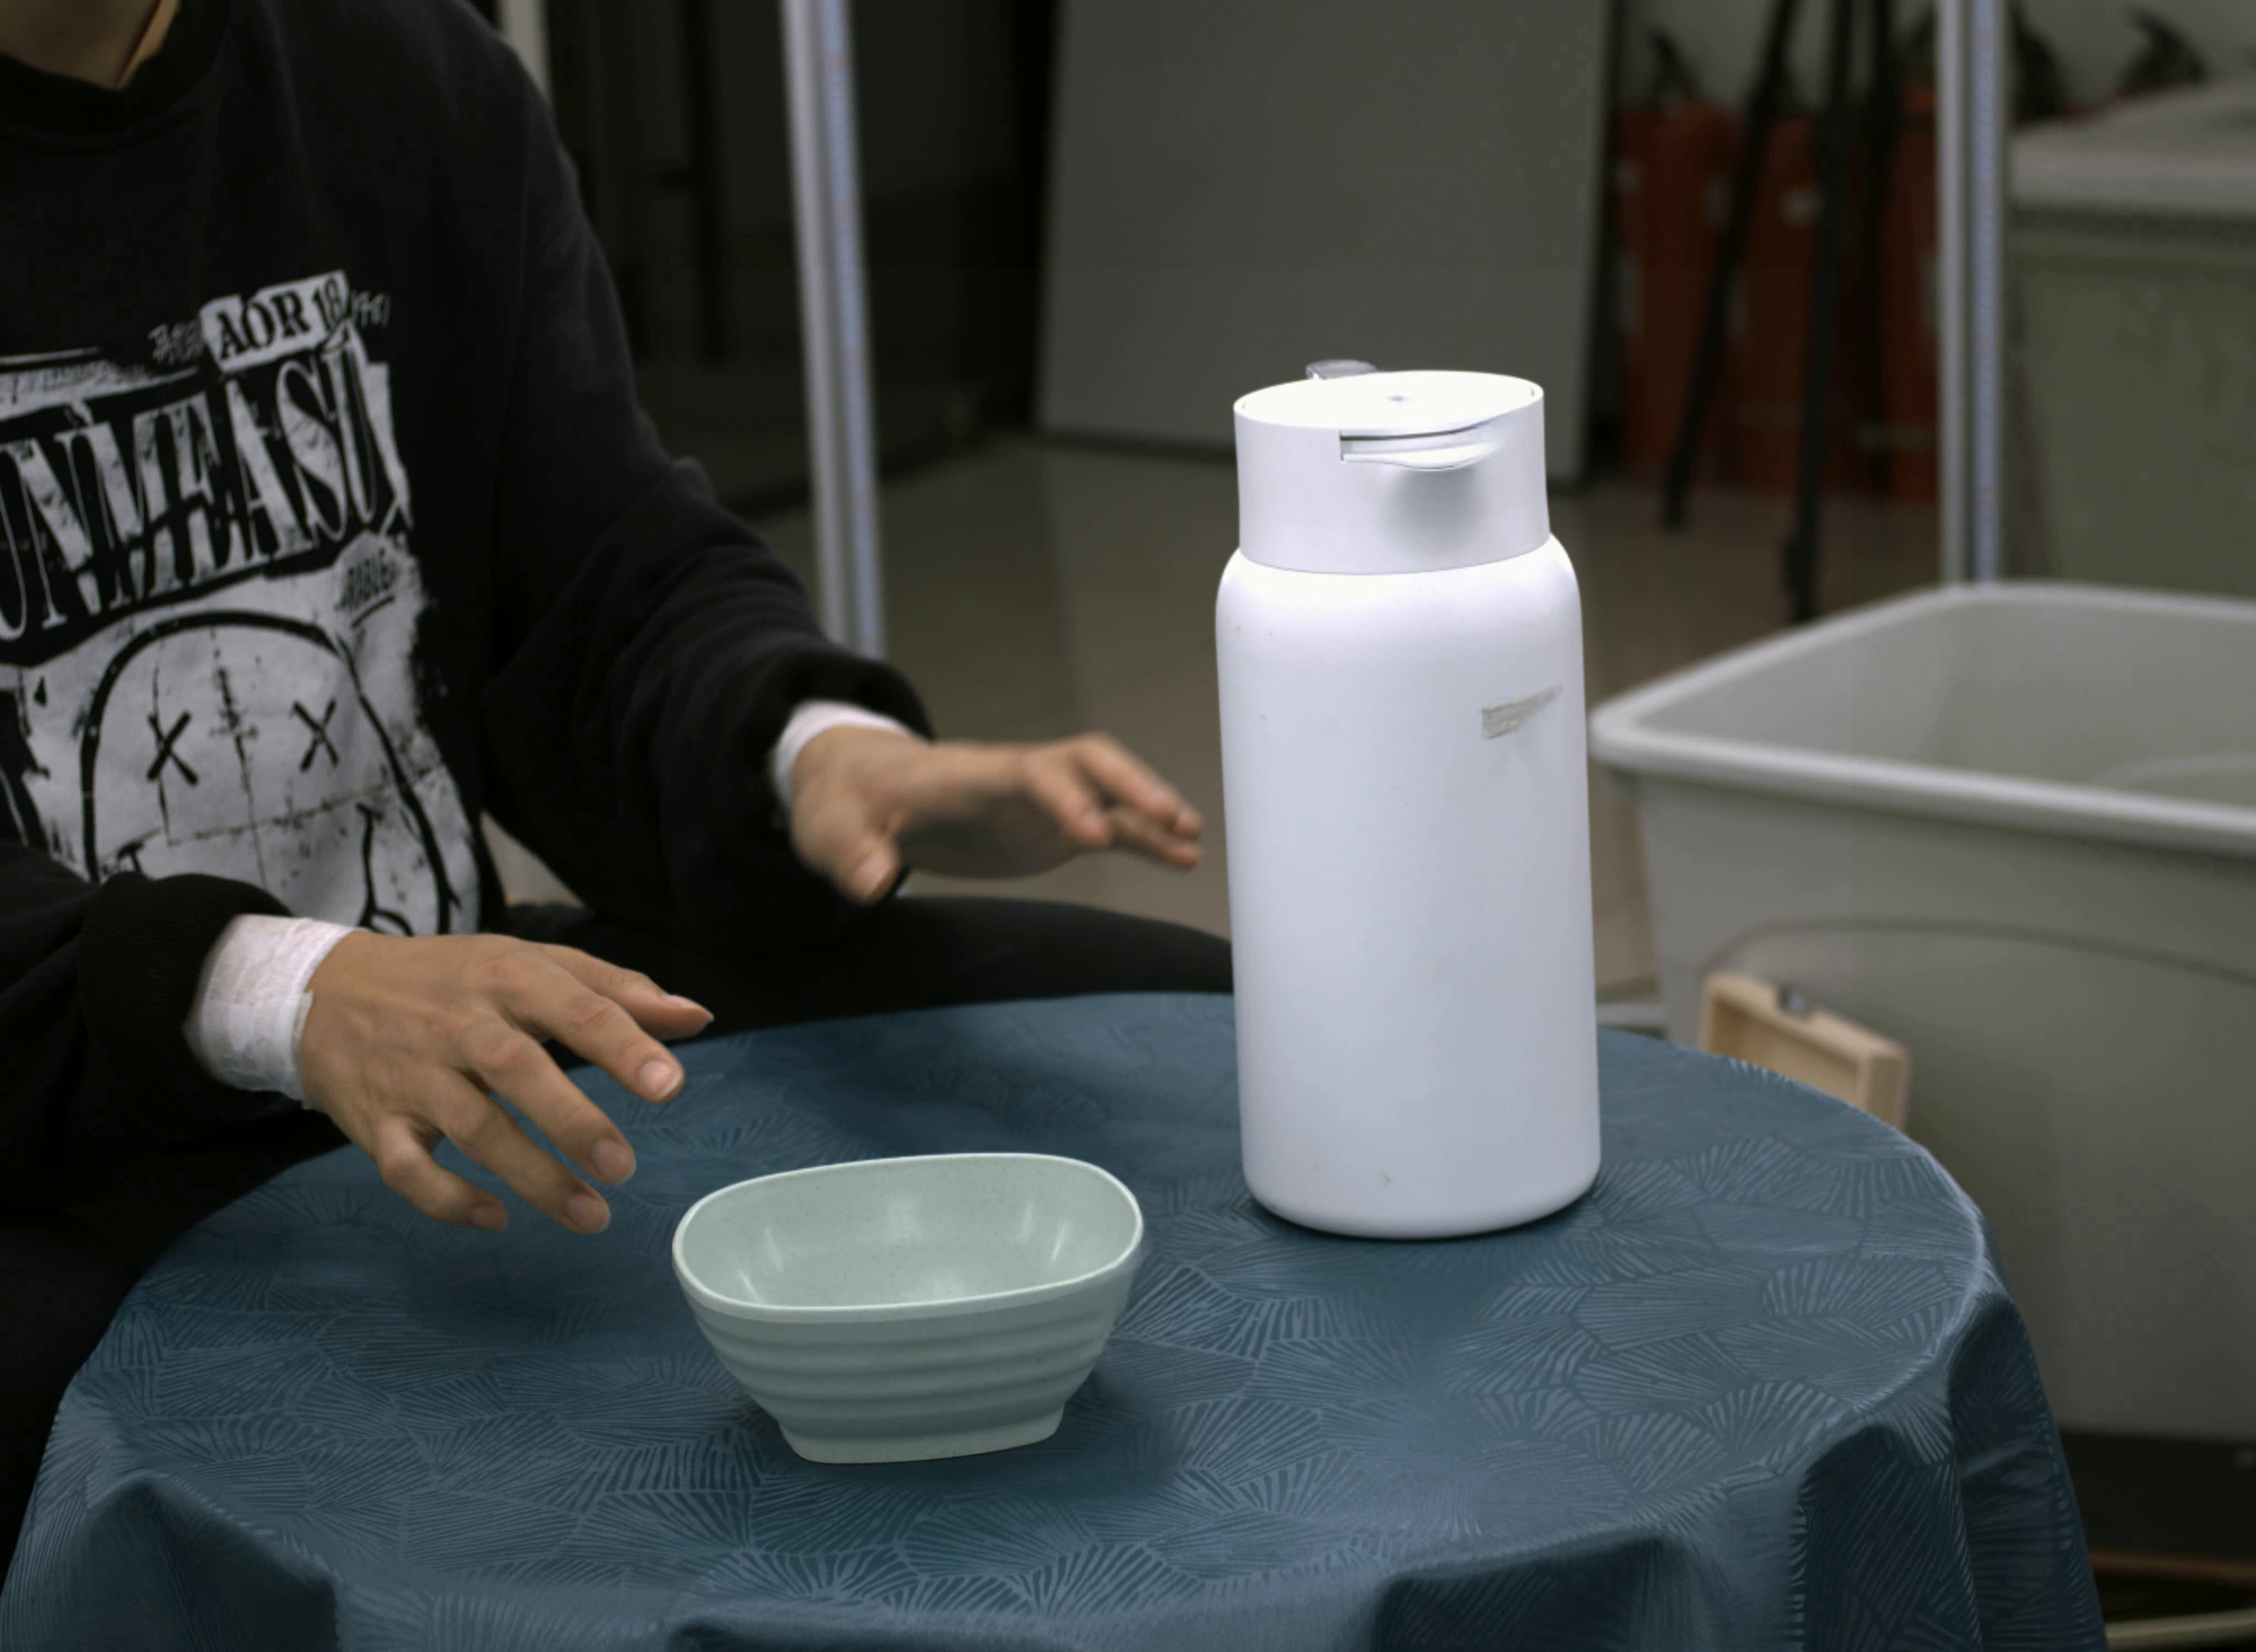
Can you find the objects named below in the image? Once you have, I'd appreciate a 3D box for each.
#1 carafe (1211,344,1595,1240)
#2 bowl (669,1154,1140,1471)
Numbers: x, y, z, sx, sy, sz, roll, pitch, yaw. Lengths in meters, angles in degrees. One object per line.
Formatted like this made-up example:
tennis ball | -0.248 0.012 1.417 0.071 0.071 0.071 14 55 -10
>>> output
carafe | 0.082 -0.014 1.737 0.121 0.272 0.174 -9 14 -11
bowl | -0.063 0.146 1.580 0.149 0.059 0.152 -4 15 0
